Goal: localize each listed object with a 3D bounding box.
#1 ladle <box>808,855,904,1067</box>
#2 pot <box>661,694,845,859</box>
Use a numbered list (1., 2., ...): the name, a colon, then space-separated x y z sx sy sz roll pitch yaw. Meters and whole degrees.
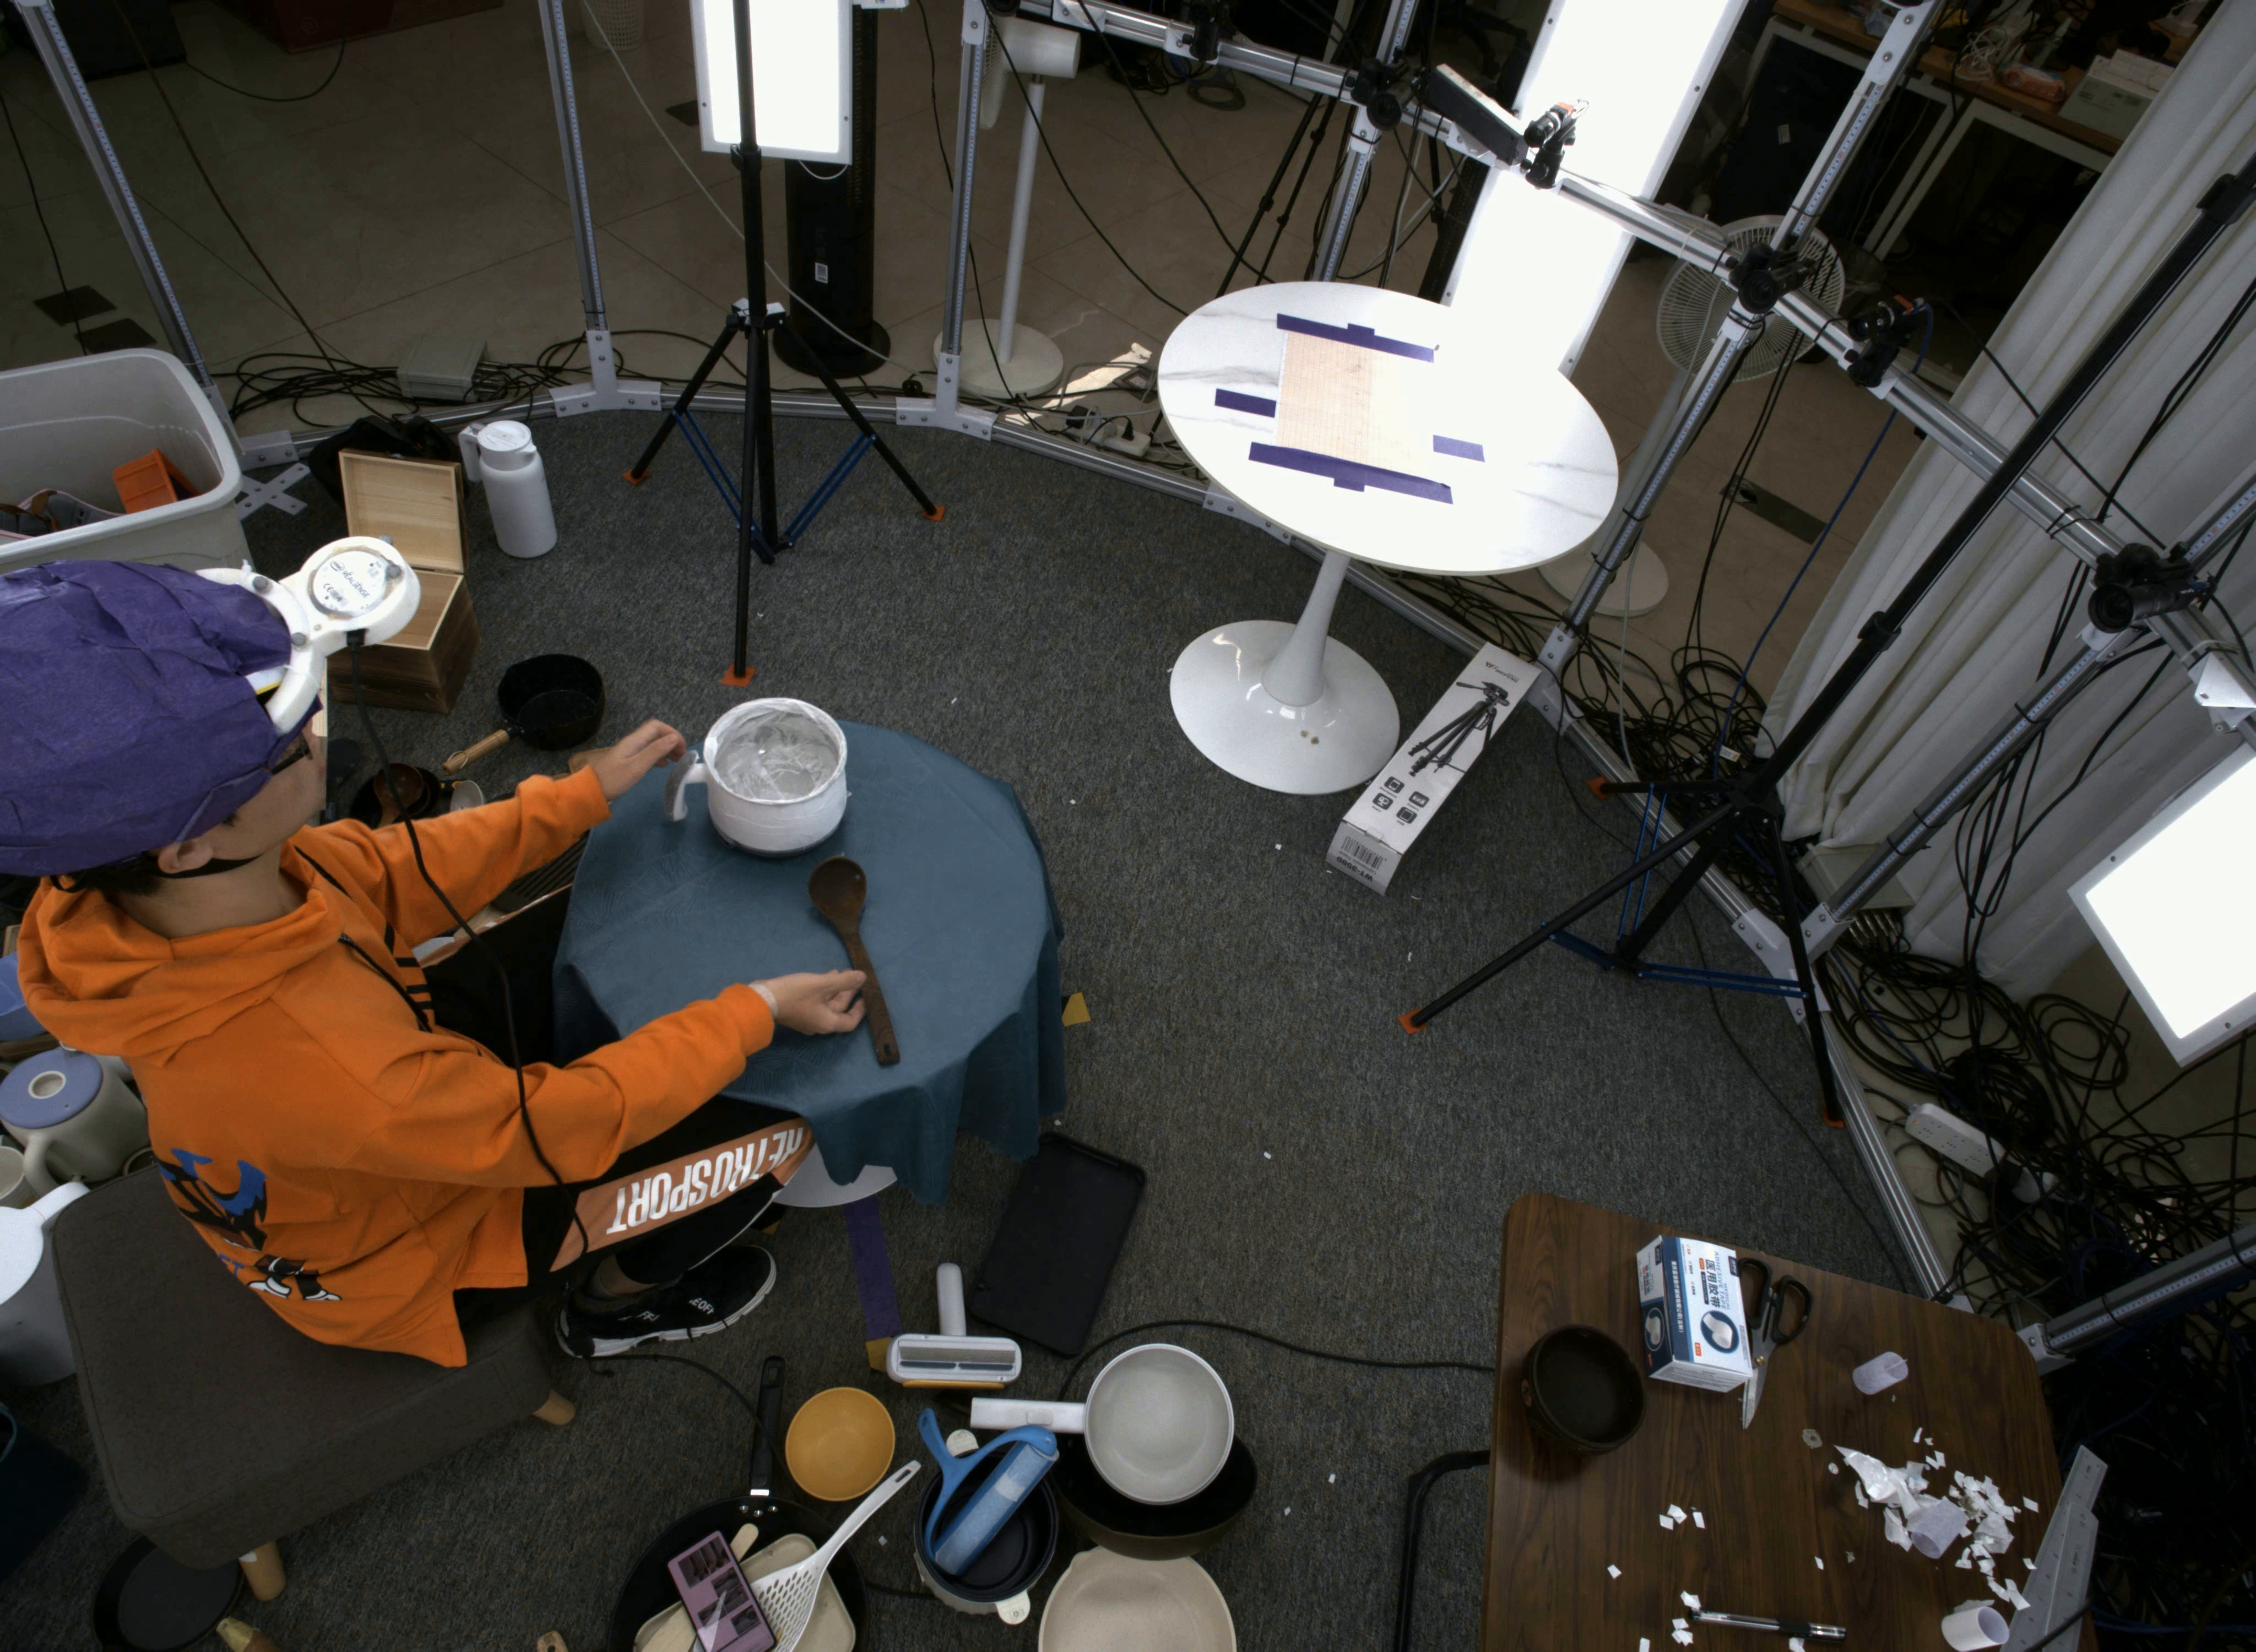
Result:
1. ladle: -0.324 0.155 1.579 0.076 0.073 0.267 -15 58 -20
2. pot: -0.480 -0.057 1.652 0.235 0.139 0.174 -7 54 -19
